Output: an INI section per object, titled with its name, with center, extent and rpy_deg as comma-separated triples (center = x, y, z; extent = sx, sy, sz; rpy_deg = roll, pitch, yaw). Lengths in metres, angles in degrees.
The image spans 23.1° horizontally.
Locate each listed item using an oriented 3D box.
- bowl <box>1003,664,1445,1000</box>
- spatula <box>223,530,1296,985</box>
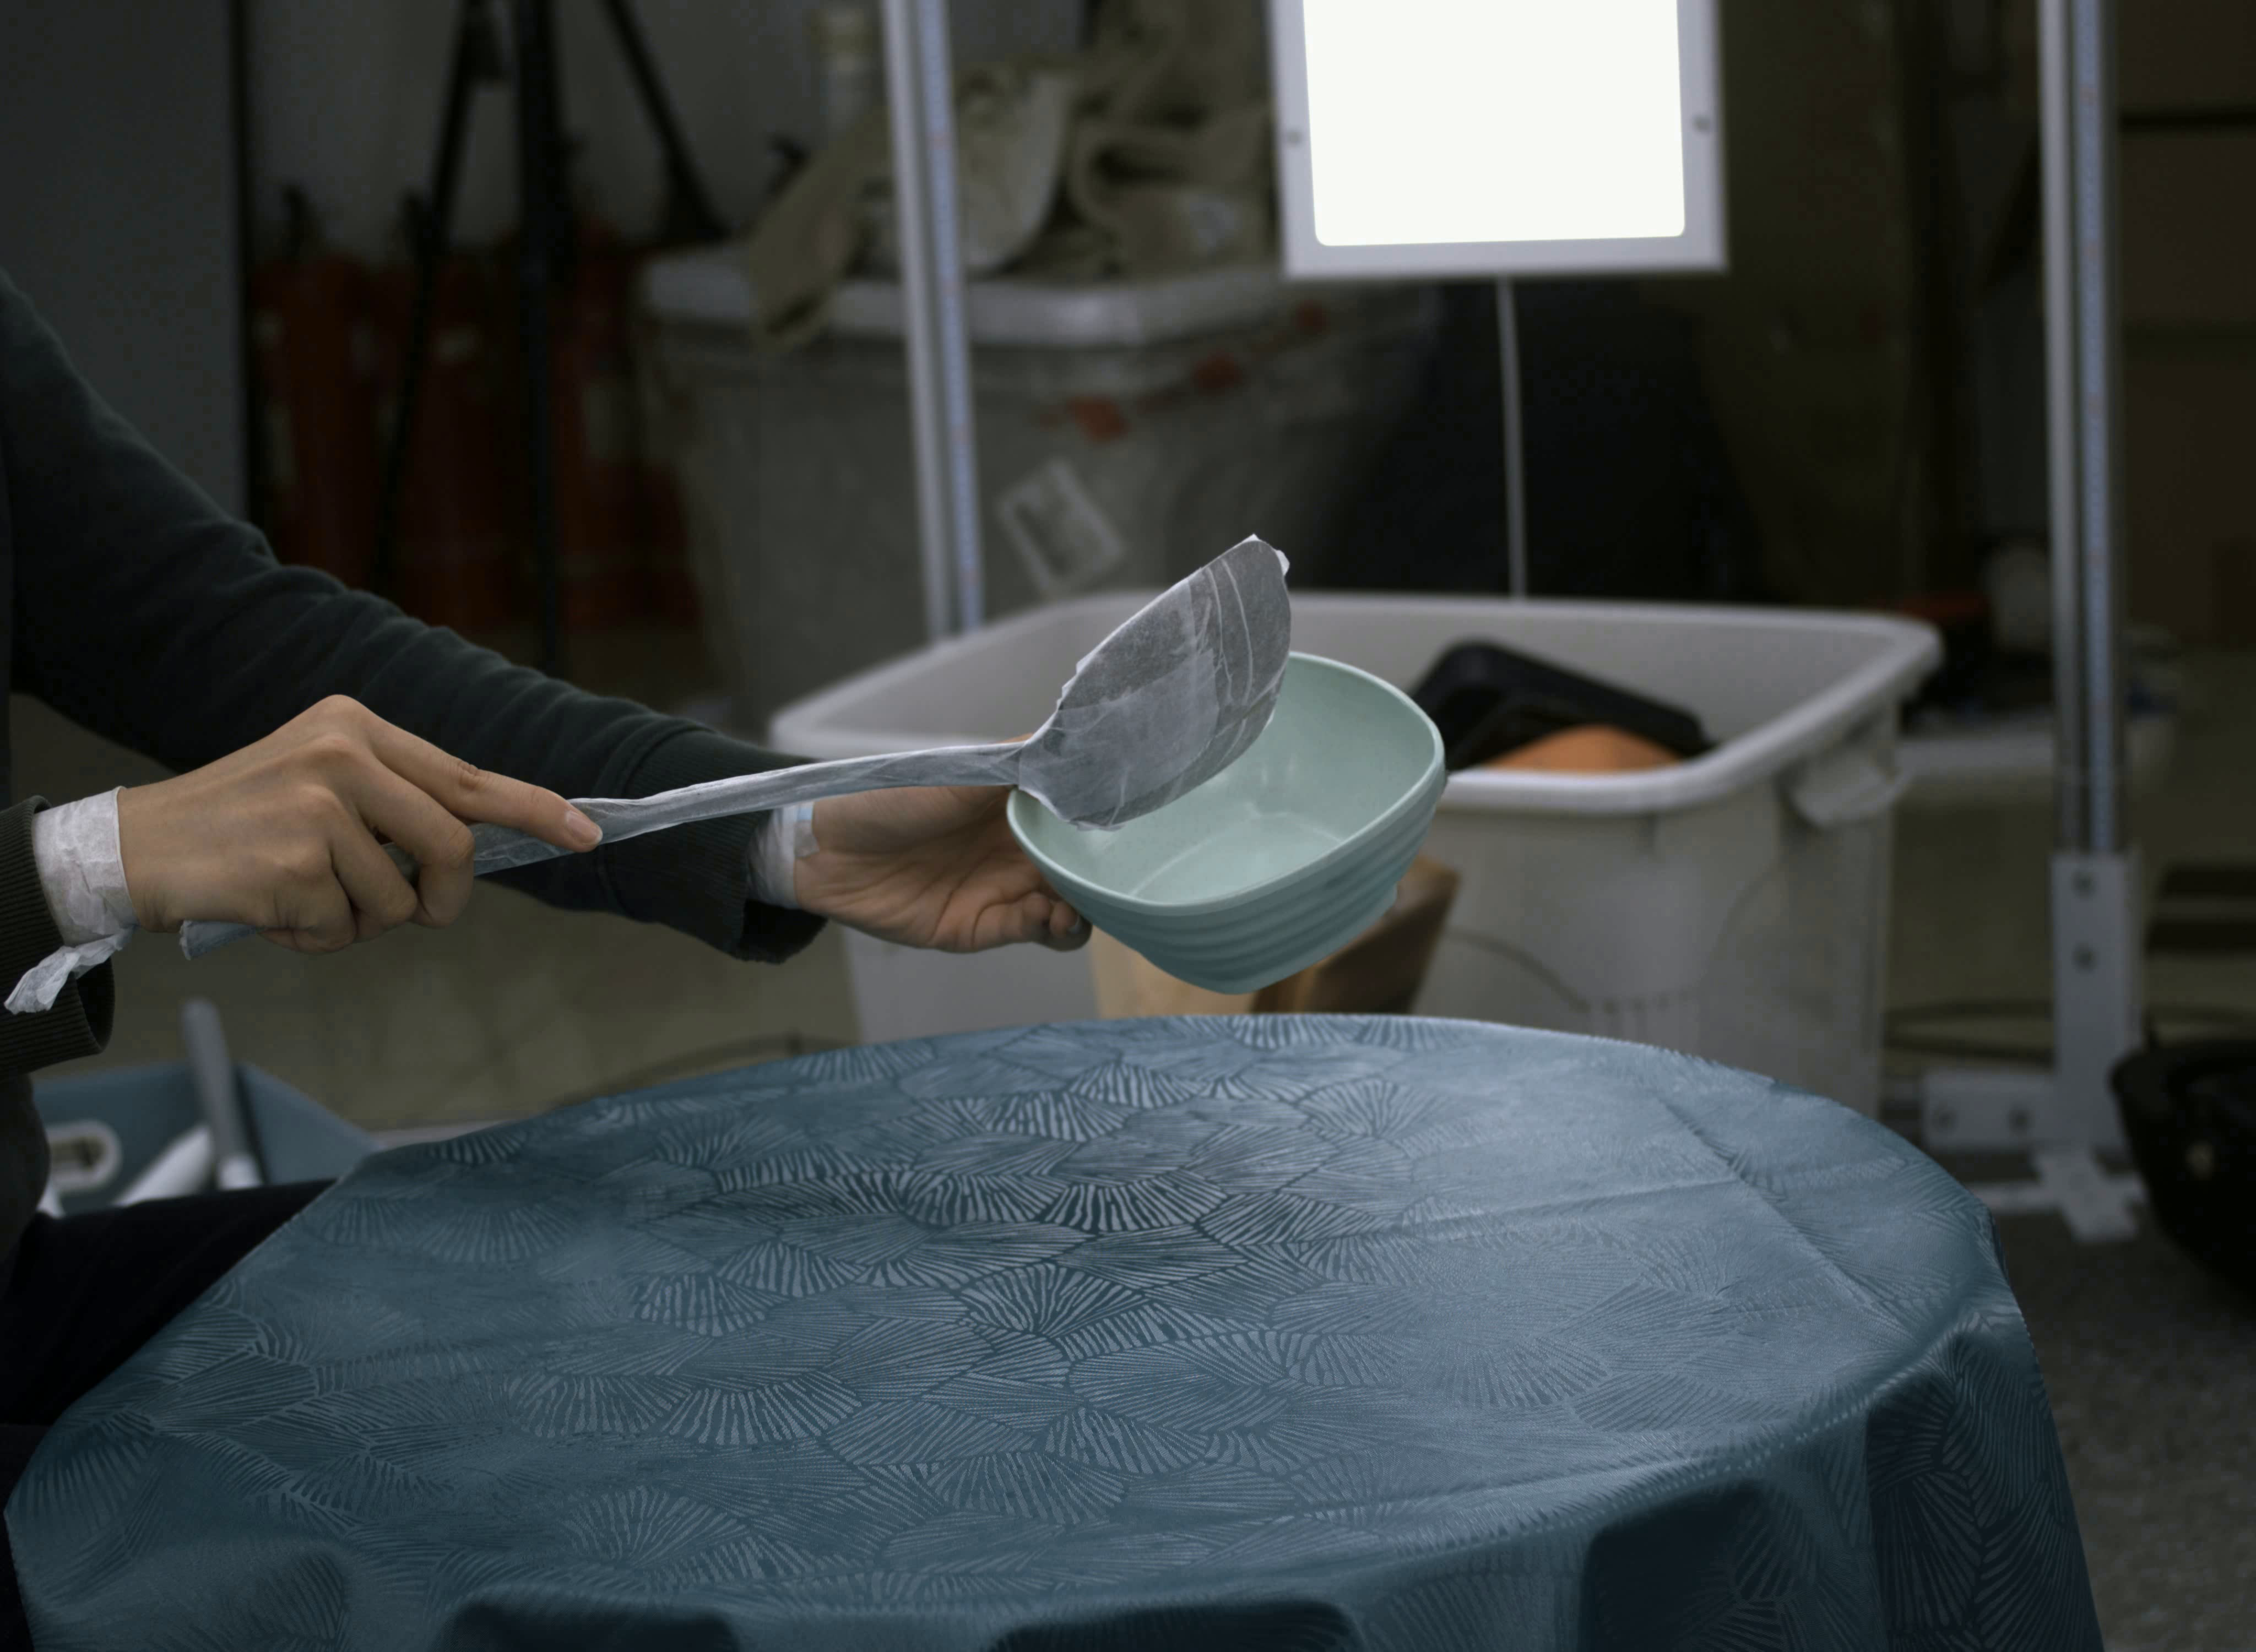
[bowl]
center = 0.036, 0.008, 1.858
extent = 0.152, 0.059, 0.151
rpy_deg = -11, 31, 5
[spatula]
center = -0.111, -0.012, 1.728
extent = 0.360, 0.099, 0.045
rpy_deg = -13, 48, -12
